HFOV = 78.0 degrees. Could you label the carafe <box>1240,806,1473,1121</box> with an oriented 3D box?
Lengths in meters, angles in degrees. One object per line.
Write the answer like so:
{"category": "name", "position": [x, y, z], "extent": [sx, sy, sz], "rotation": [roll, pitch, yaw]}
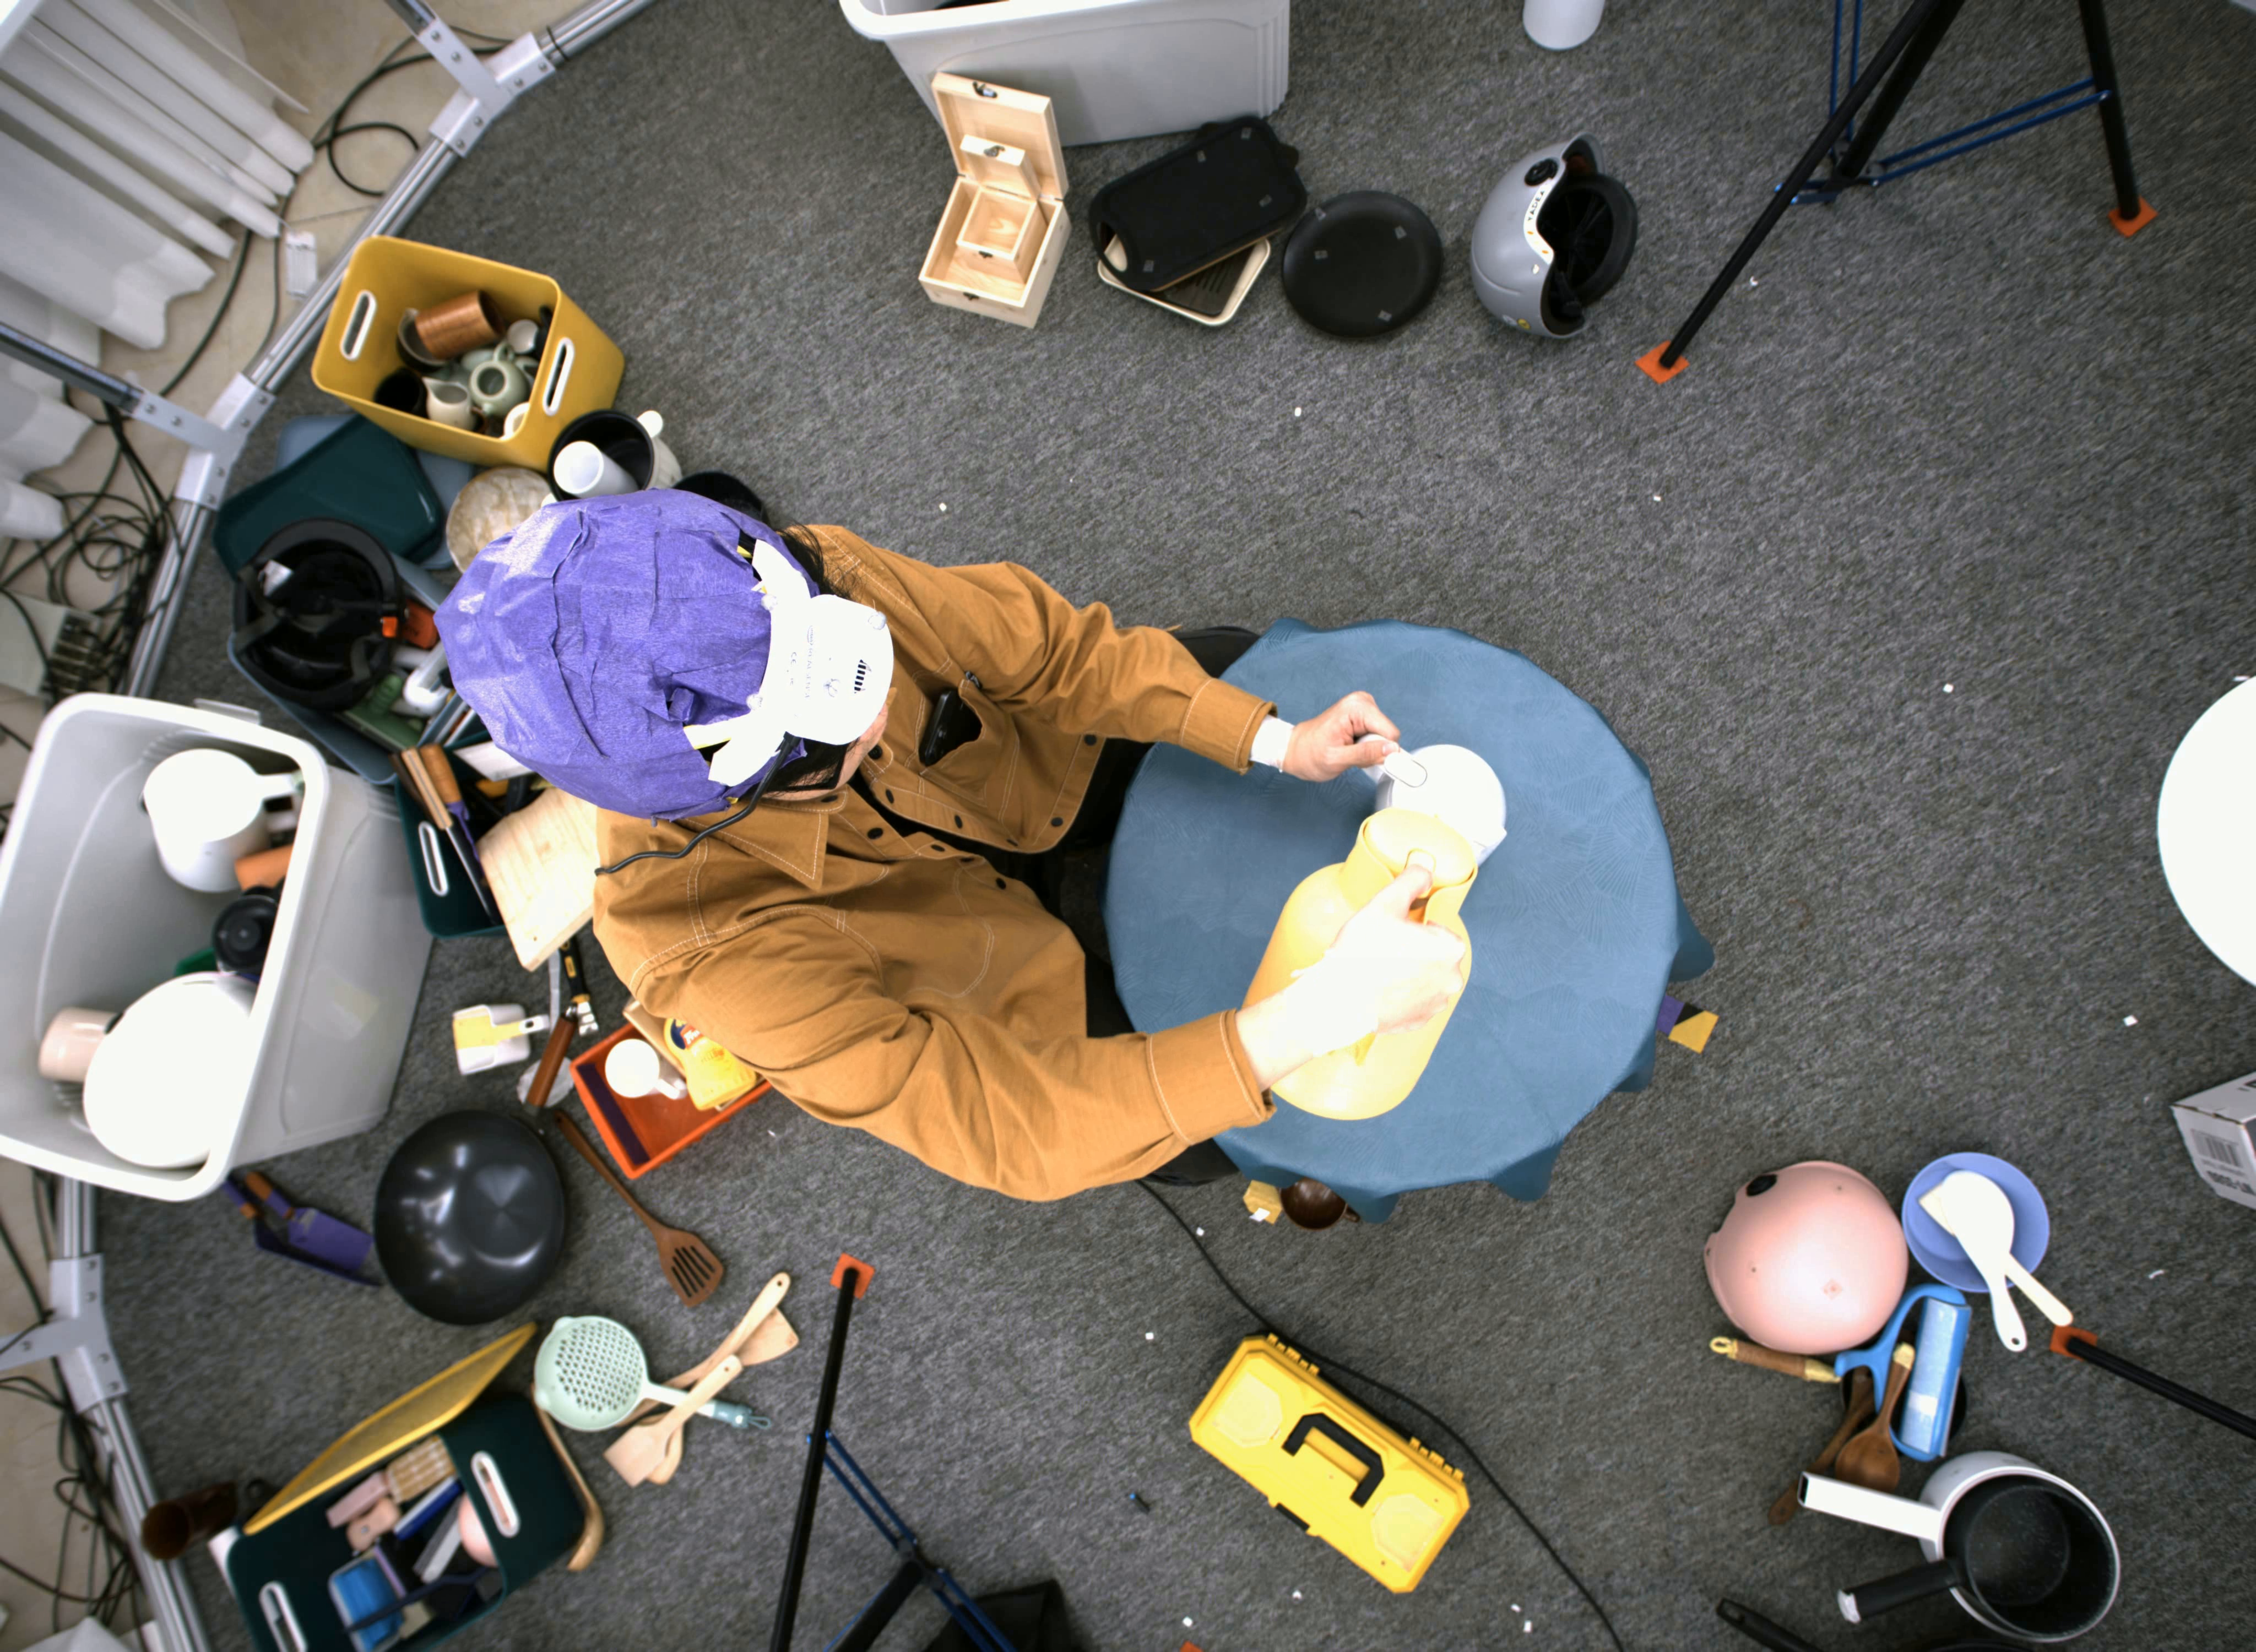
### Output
{"category": "carafe", "position": [0.192, 0.120, 1.133], "extent": [0.163, 0.197, 0.267], "rotation": [19, 126, 6]}

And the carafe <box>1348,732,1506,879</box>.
{"category": "carafe", "position": [0.284, -0.027, 1.325], "extent": [0.167, 0.248, 0.133], "rotation": [38, 94, 12]}
